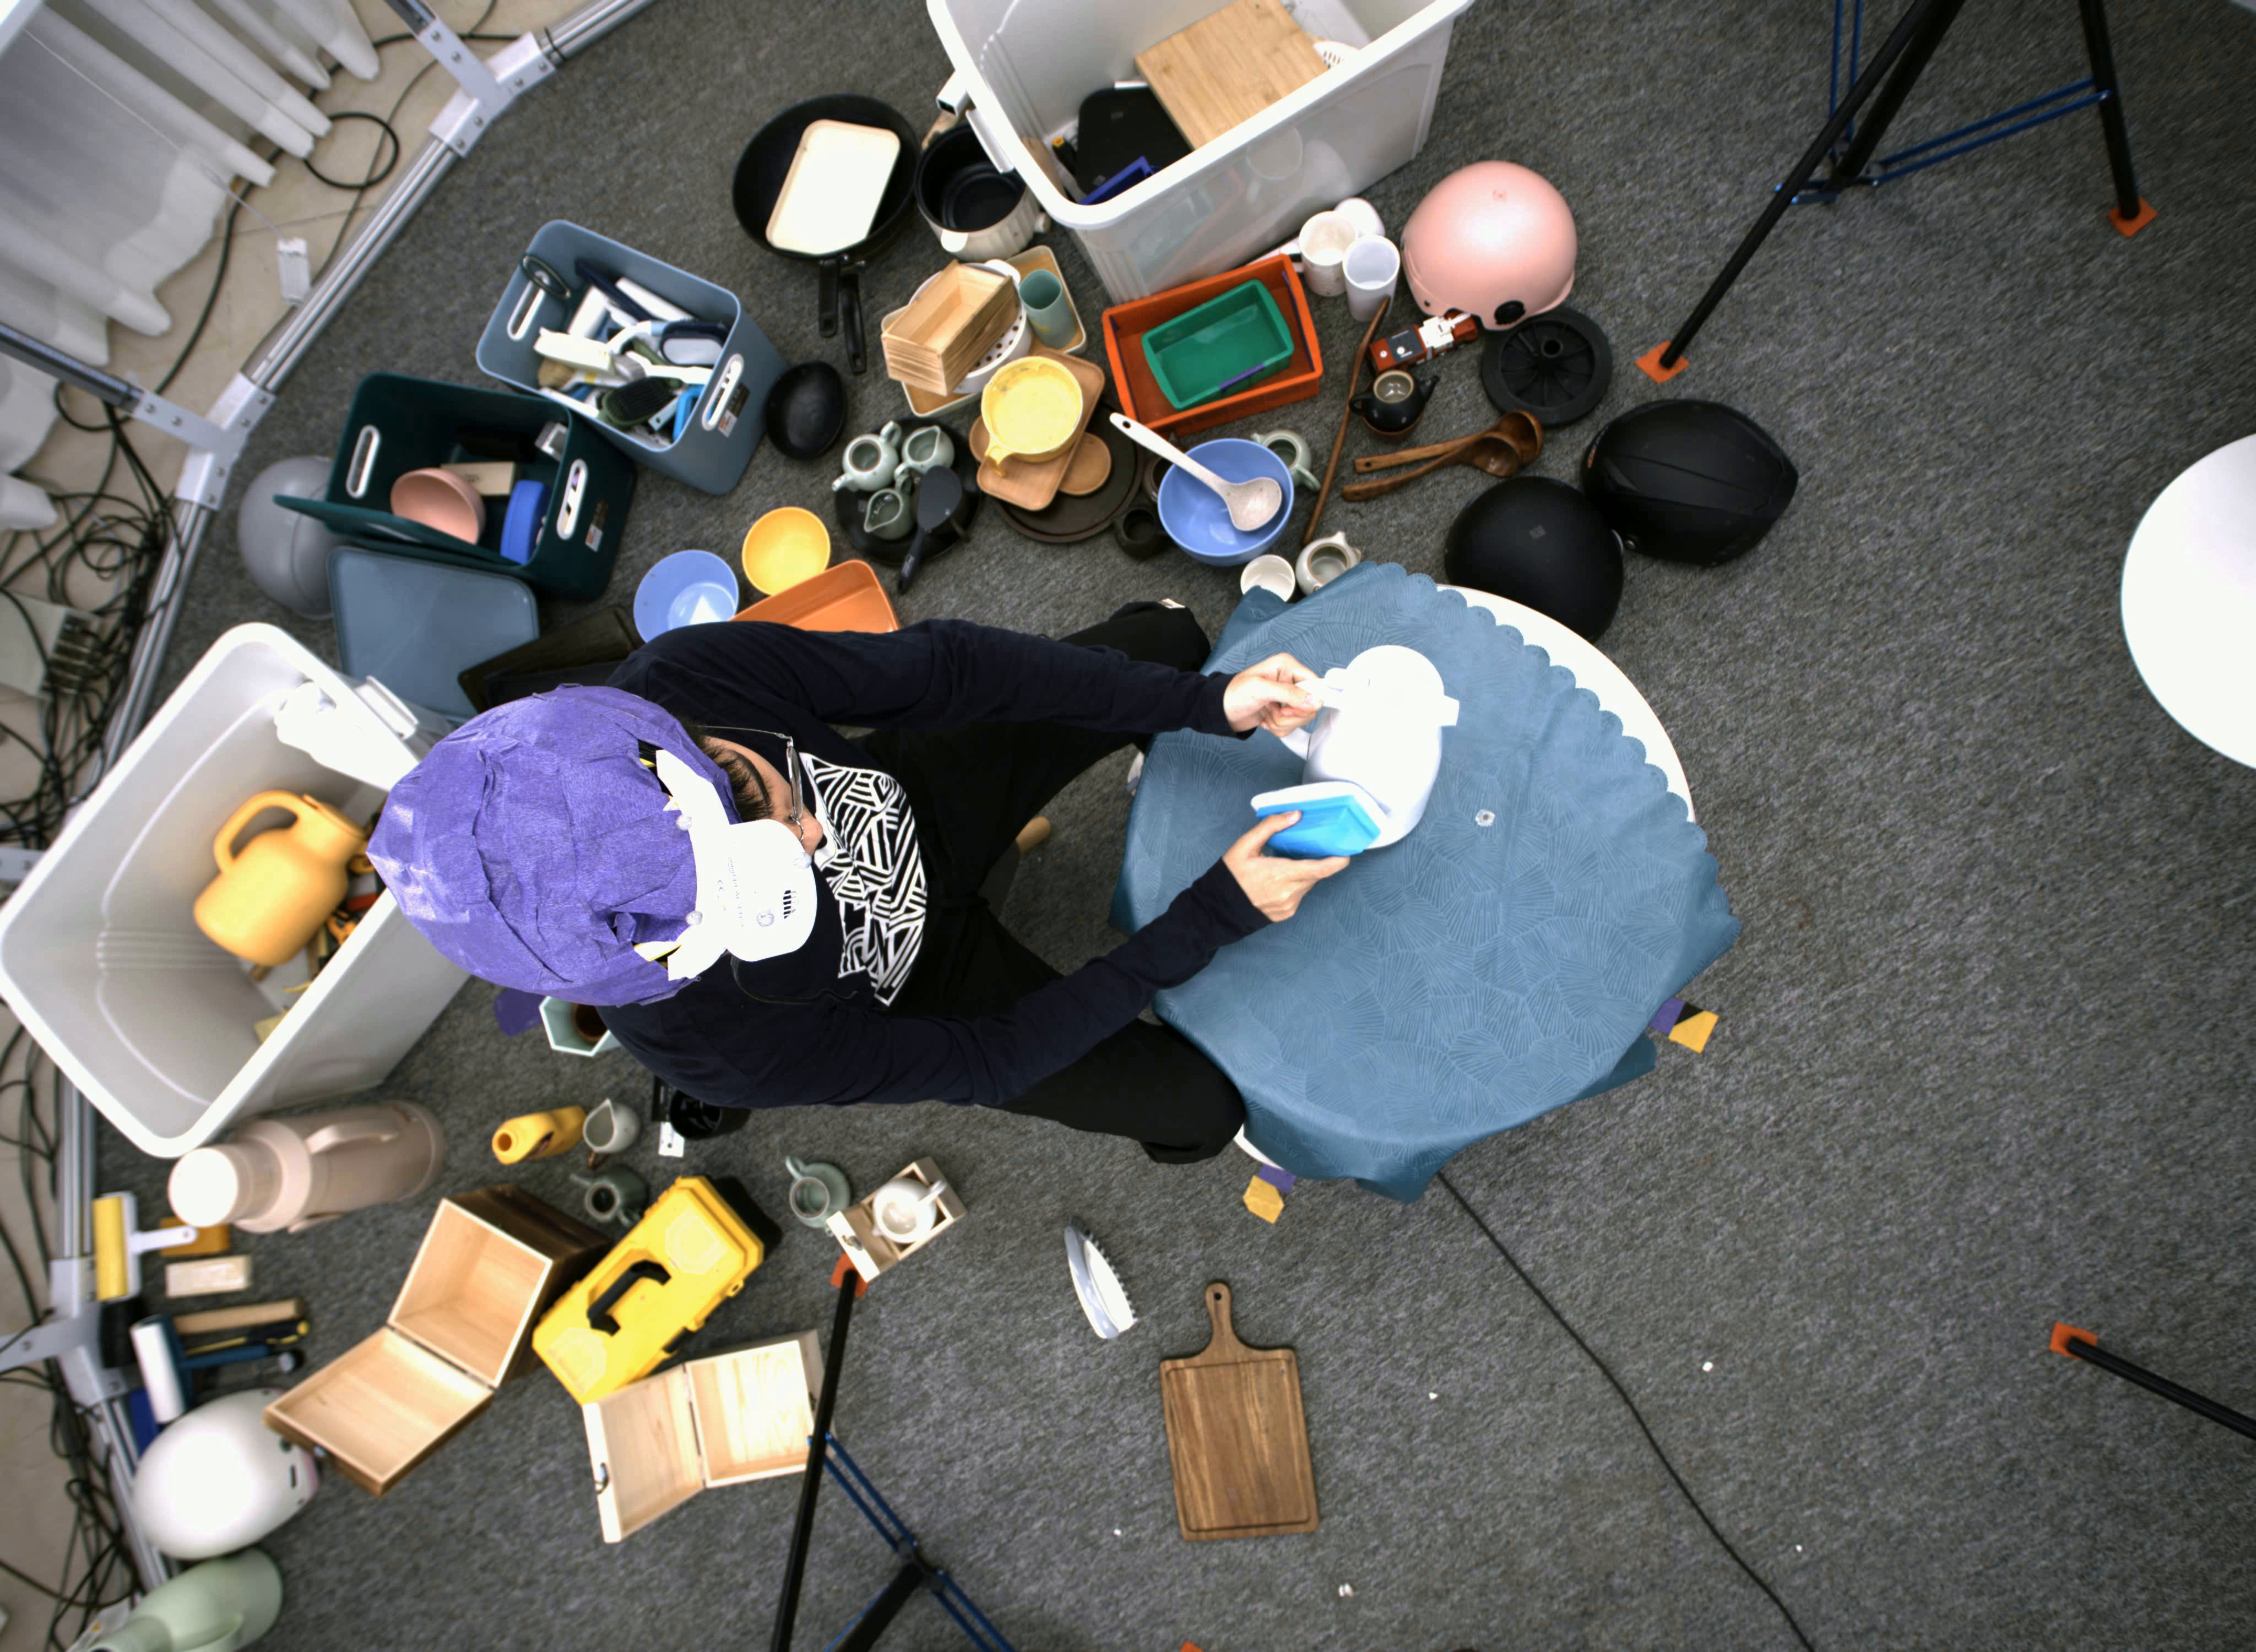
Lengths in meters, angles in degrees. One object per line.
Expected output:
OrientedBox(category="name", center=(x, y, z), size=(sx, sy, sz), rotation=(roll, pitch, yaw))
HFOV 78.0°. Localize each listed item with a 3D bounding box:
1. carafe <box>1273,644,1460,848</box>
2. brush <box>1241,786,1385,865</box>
OrientedBox(category="carafe", center=(0.224, -0.084, 1.335), size=(0.168, 0.252, 0.130), rotation=(9, 72, 8))
OrientedBox(category="brush", center=(0.175, 0.007, 1.355), size=(0.145, 0.085, 0.054), rotation=(-8, 41, 44))
